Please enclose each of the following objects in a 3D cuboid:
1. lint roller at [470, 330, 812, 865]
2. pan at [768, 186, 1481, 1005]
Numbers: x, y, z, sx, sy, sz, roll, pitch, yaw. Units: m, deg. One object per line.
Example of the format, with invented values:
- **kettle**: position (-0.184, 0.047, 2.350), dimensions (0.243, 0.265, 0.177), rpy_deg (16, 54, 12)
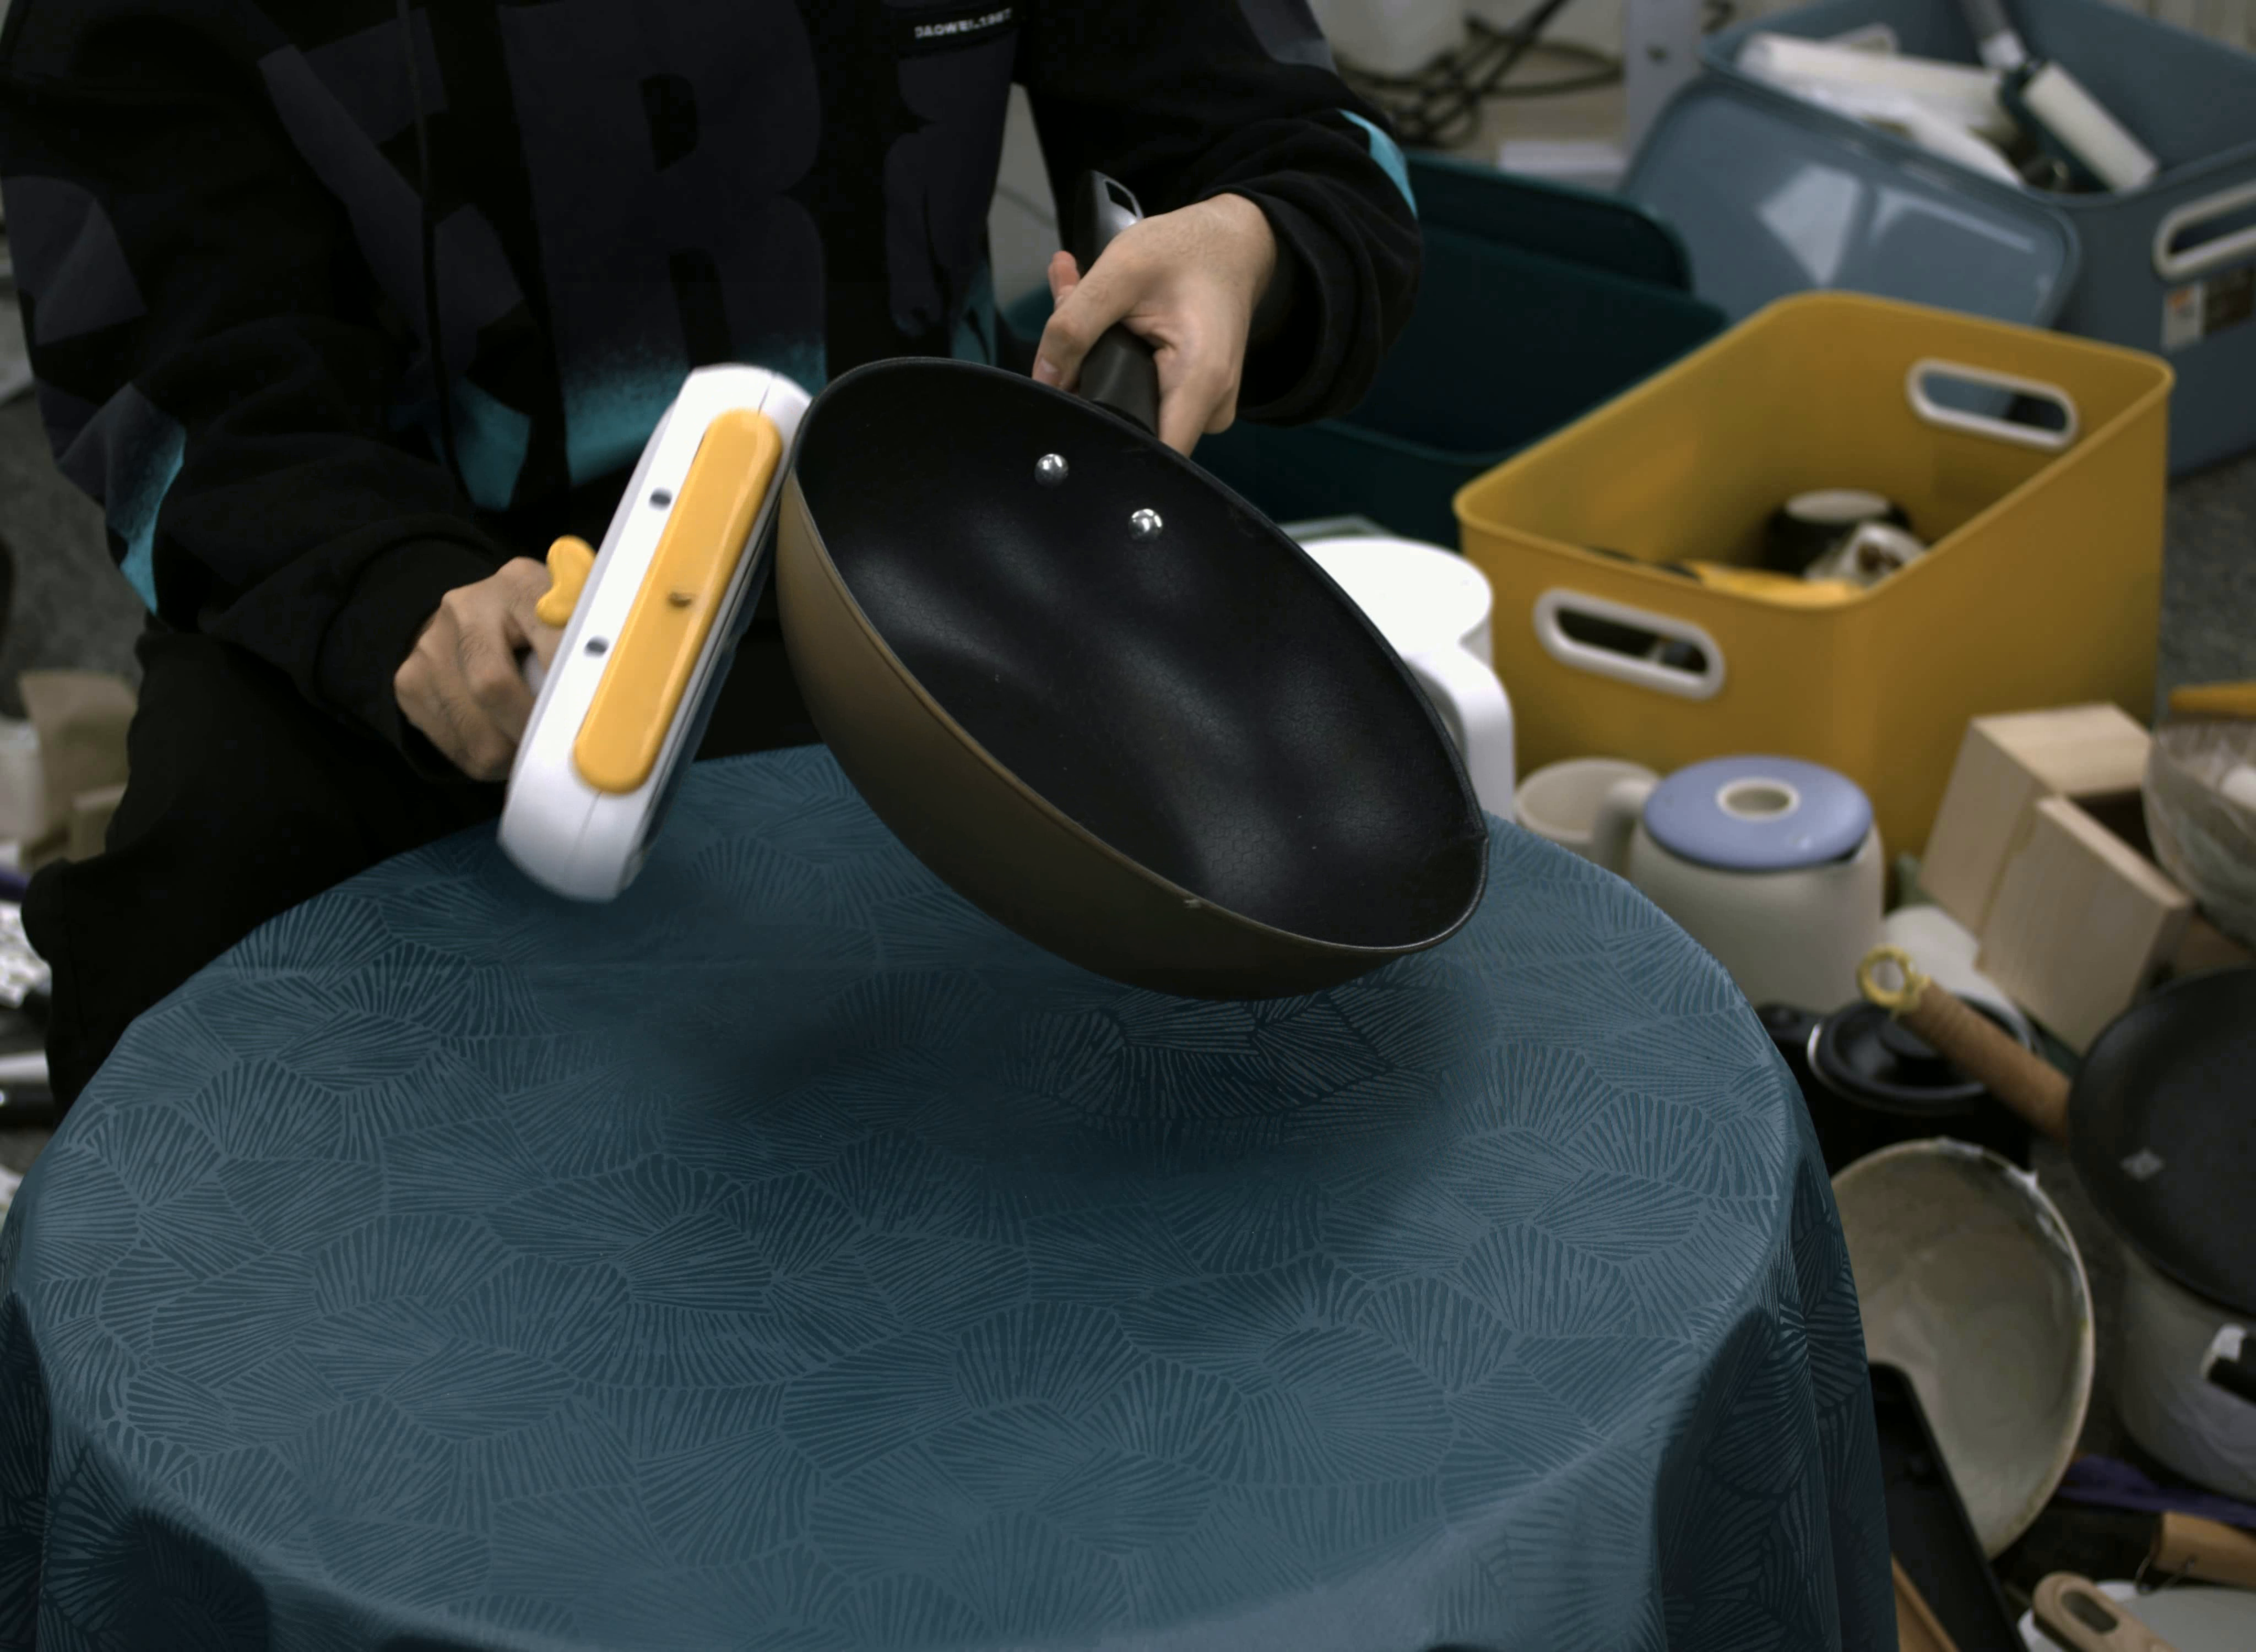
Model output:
- **lint roller**: position (-0.178, -0.061, 1.944), dimensions (0.074, 0.189, 0.196), rpy_deg (20, 65, -12)
- **pan**: position (-0.019, -0.088, 1.981), dimensions (0.287, 0.085, 0.471), rpy_deg (29, 29, -20)
